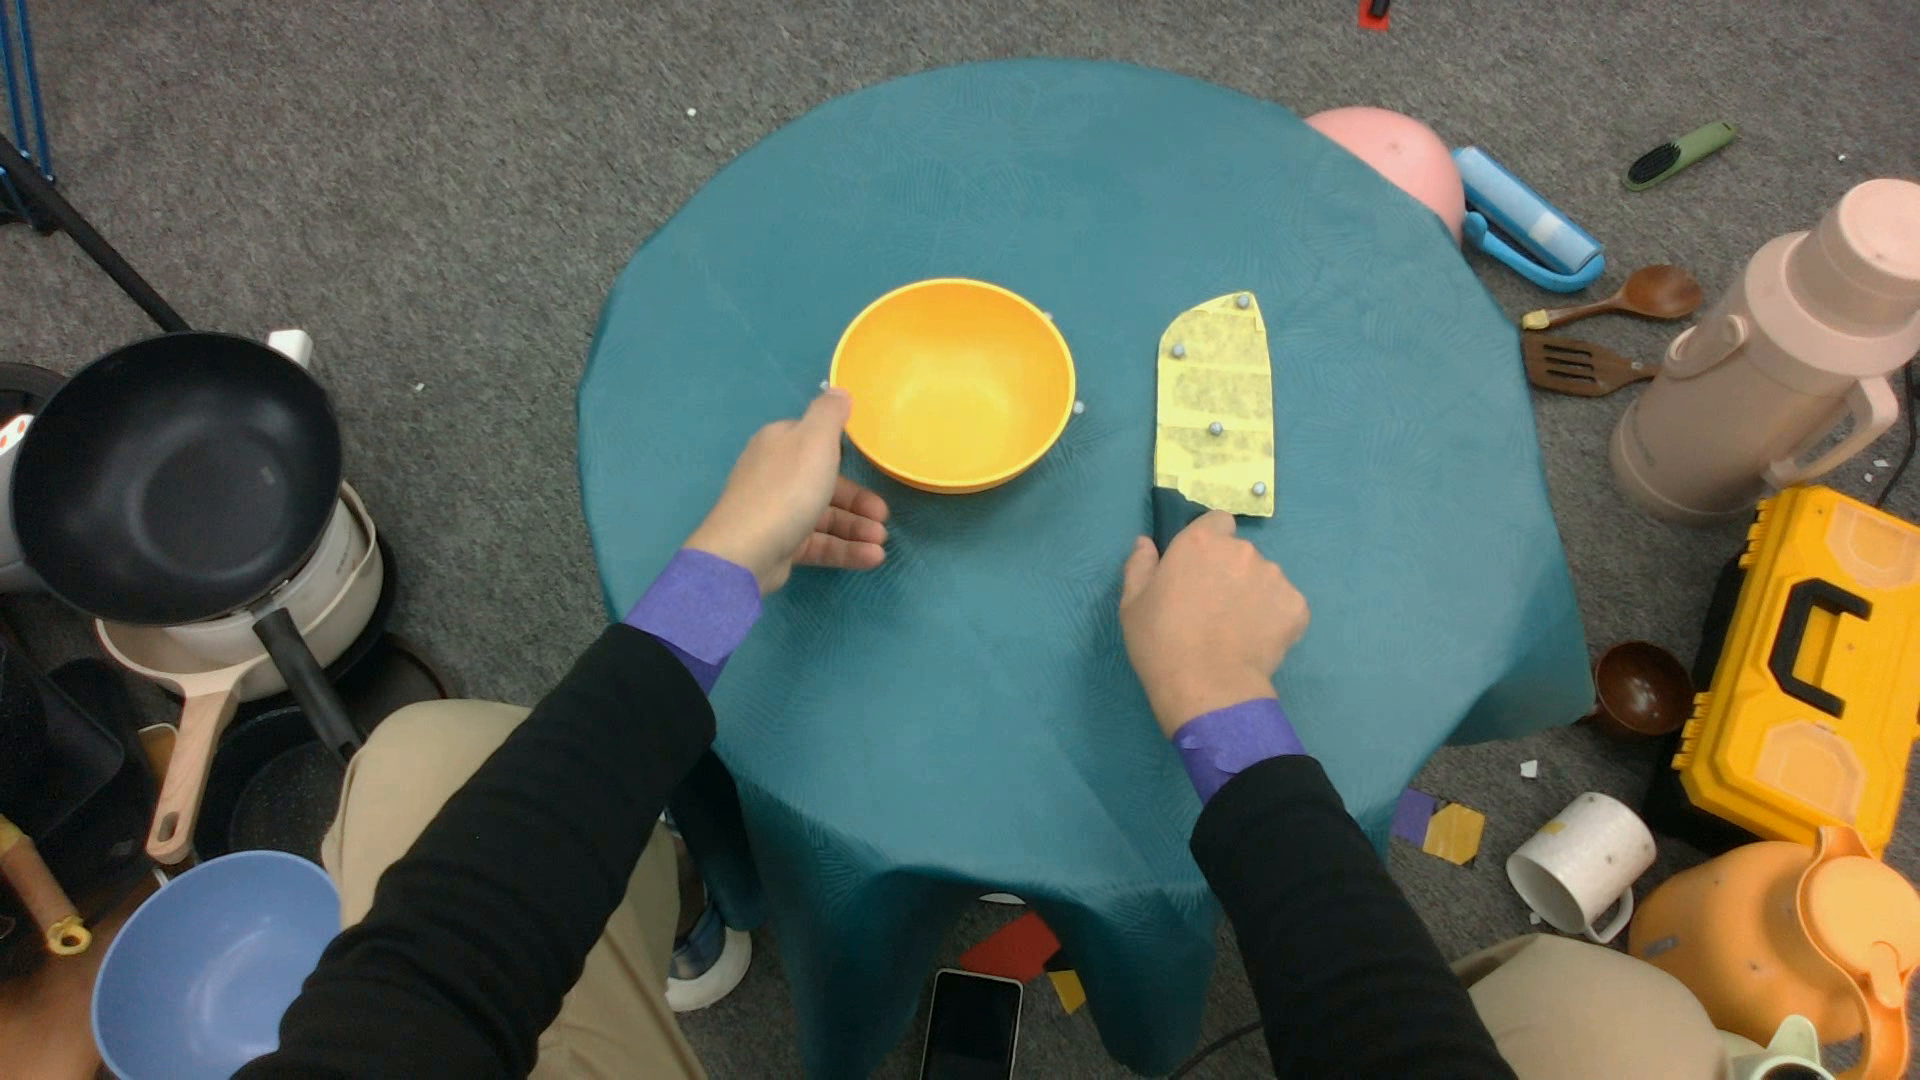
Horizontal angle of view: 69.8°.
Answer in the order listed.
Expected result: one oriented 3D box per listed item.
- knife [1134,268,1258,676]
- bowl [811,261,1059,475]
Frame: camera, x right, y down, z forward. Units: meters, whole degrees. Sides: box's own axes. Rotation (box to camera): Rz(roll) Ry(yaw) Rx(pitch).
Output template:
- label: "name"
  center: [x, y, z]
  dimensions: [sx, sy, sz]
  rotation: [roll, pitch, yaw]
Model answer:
- label: "knife"
  center: [0.141, -0.051, 0.840]
  dimensions: [0.081, 0.027, 0.290]
  rotation: [7, 63, 2]
- label: "bowl"
  center: [-0.014, -0.093, 0.830]
  dimensions: [0.145, 0.060, 0.146]
  rotation: [0, 63, 1]
